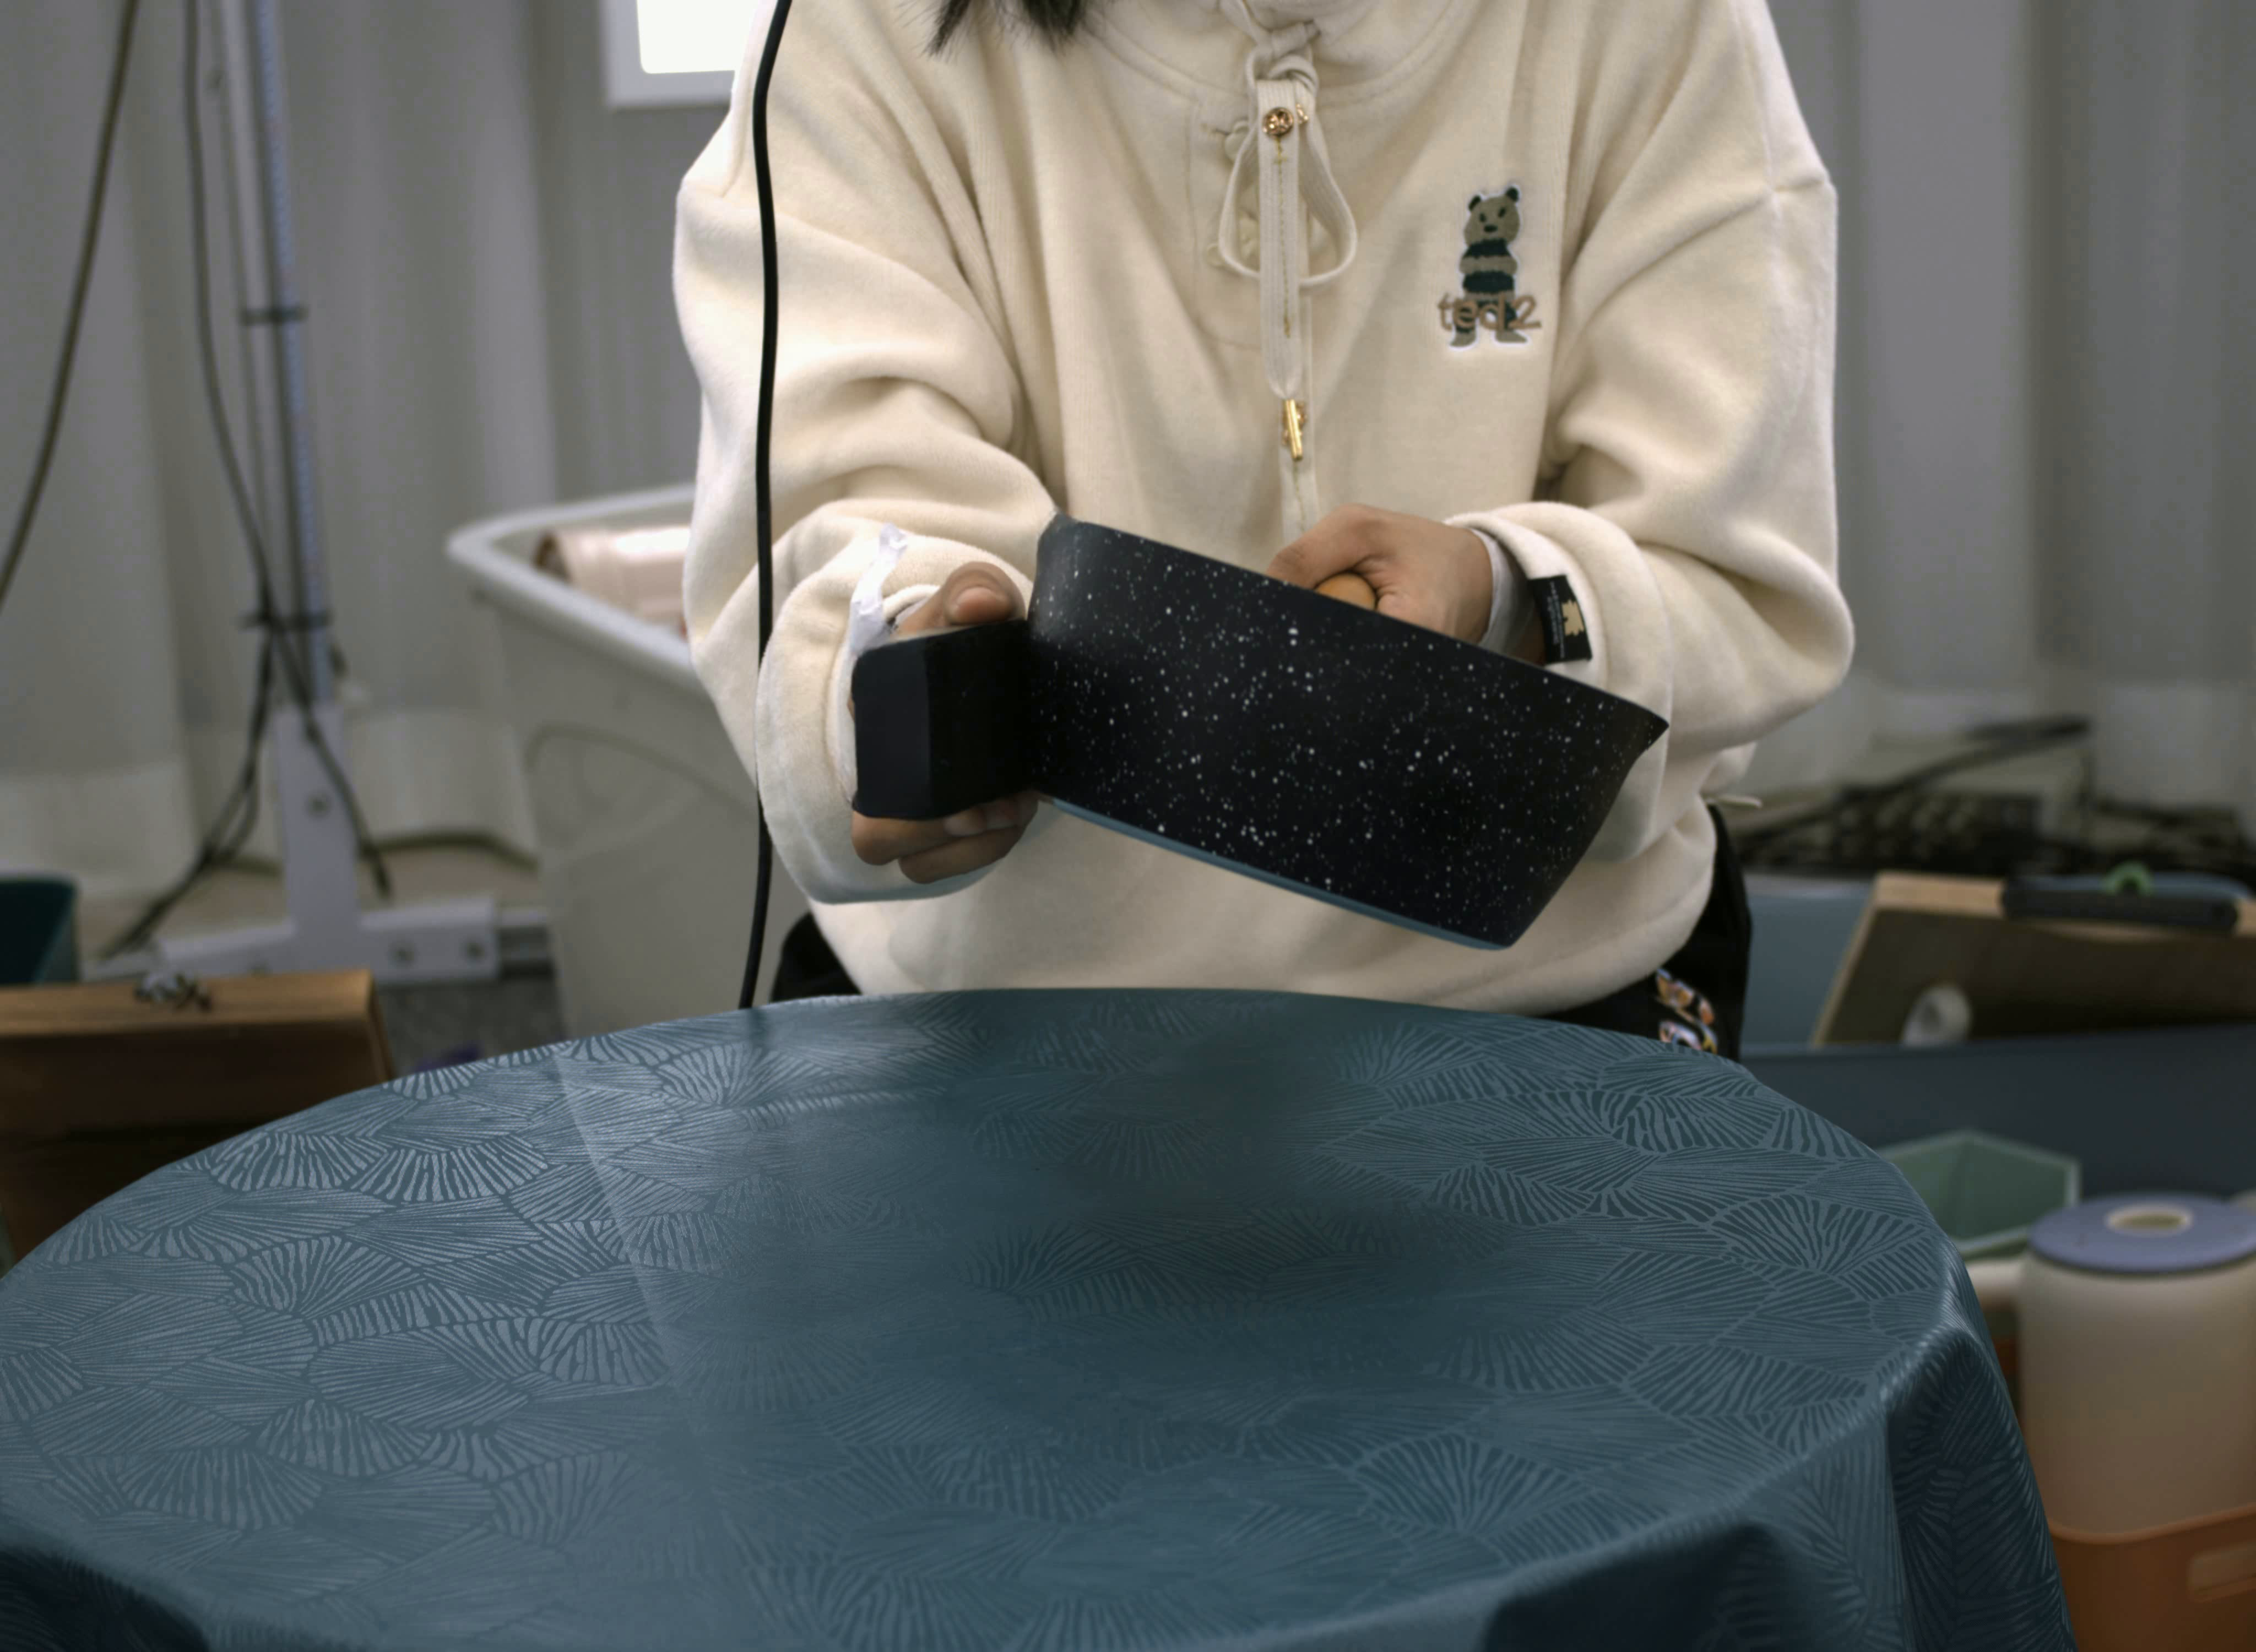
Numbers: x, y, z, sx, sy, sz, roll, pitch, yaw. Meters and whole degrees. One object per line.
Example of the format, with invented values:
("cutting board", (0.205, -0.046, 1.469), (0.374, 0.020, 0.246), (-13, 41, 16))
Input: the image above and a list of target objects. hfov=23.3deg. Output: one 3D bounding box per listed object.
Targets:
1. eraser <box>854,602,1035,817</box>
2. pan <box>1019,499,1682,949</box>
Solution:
("eraser", (-0.051, -0.035, 1.607), (0.030, 0.053, 0.125), (0, 6, 12))
("pan", (0.058, -0.039, 1.708), (0.207, 0.108, 0.343), (18, 3, 0))
